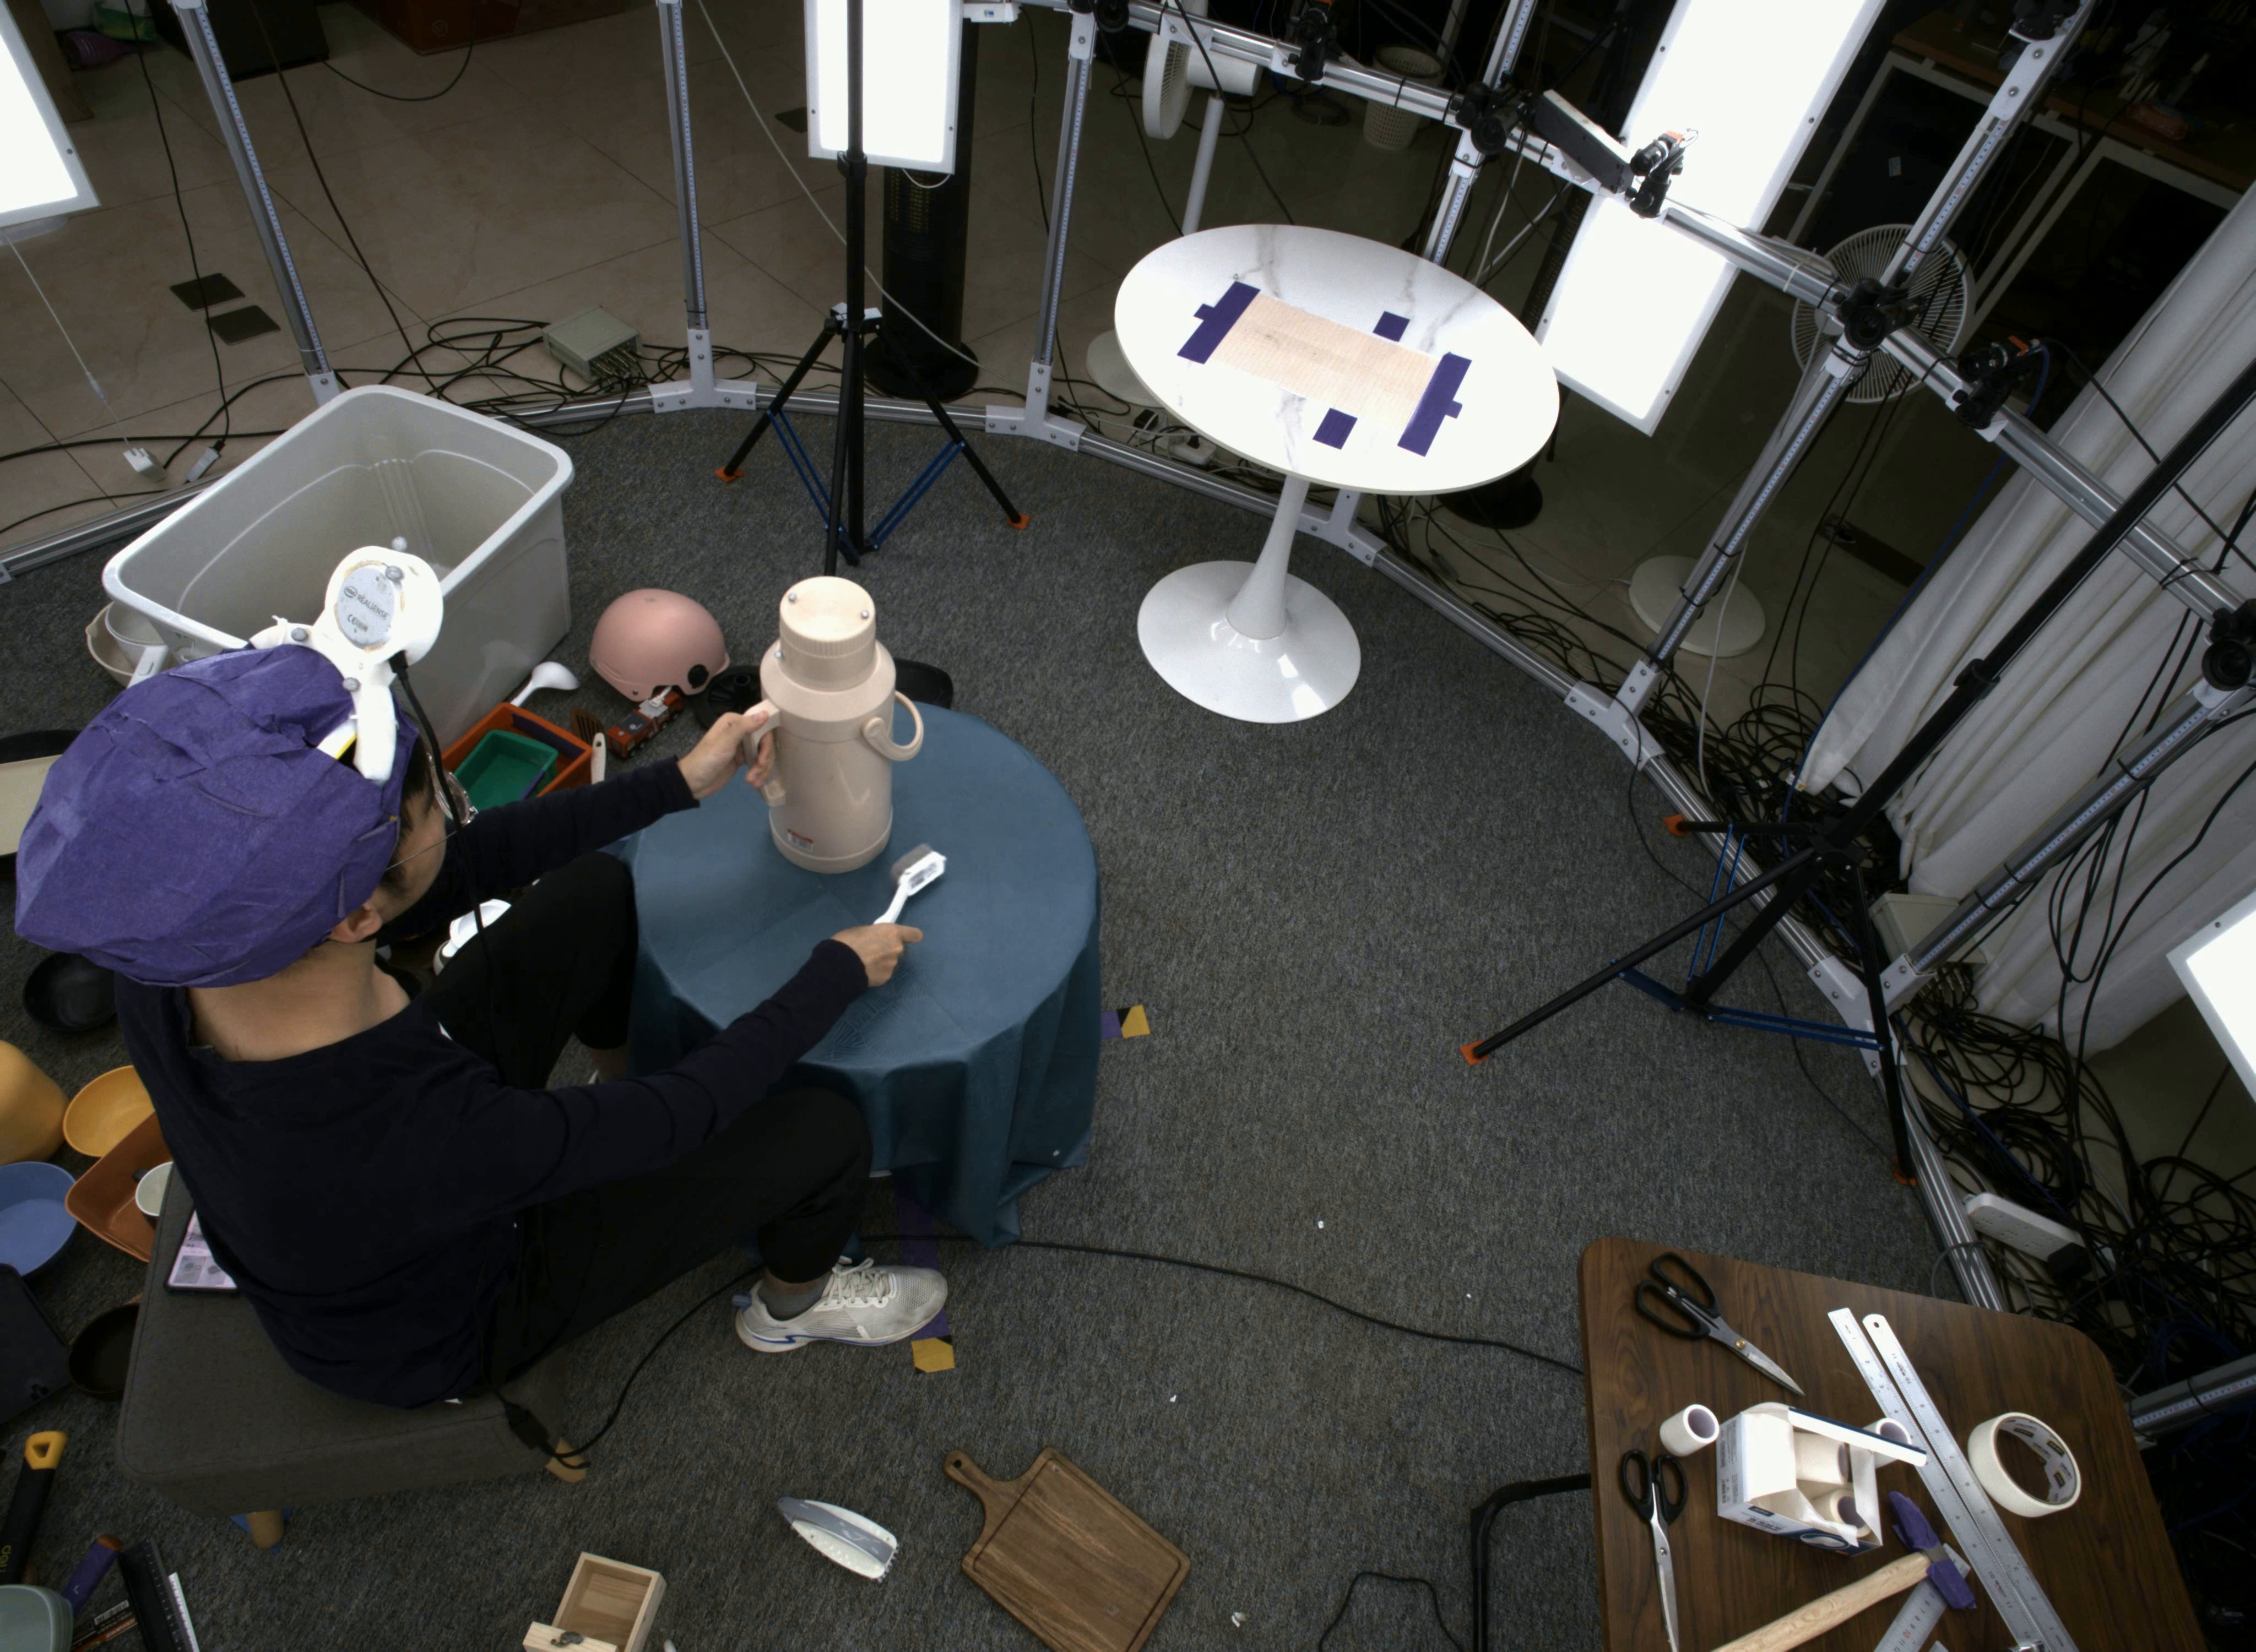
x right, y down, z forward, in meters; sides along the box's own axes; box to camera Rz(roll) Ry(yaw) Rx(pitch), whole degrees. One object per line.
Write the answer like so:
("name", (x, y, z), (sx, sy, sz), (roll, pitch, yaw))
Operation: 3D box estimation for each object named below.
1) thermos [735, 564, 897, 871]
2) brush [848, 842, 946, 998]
("thermos", (-0.378, -0.120, 1.570), (0.171, 0.414, 0.207), (41, 56, 18))
("brush", (-0.303, 0.112, 1.634), (0.049, 0.035, 0.242), (25, 52, 7))
